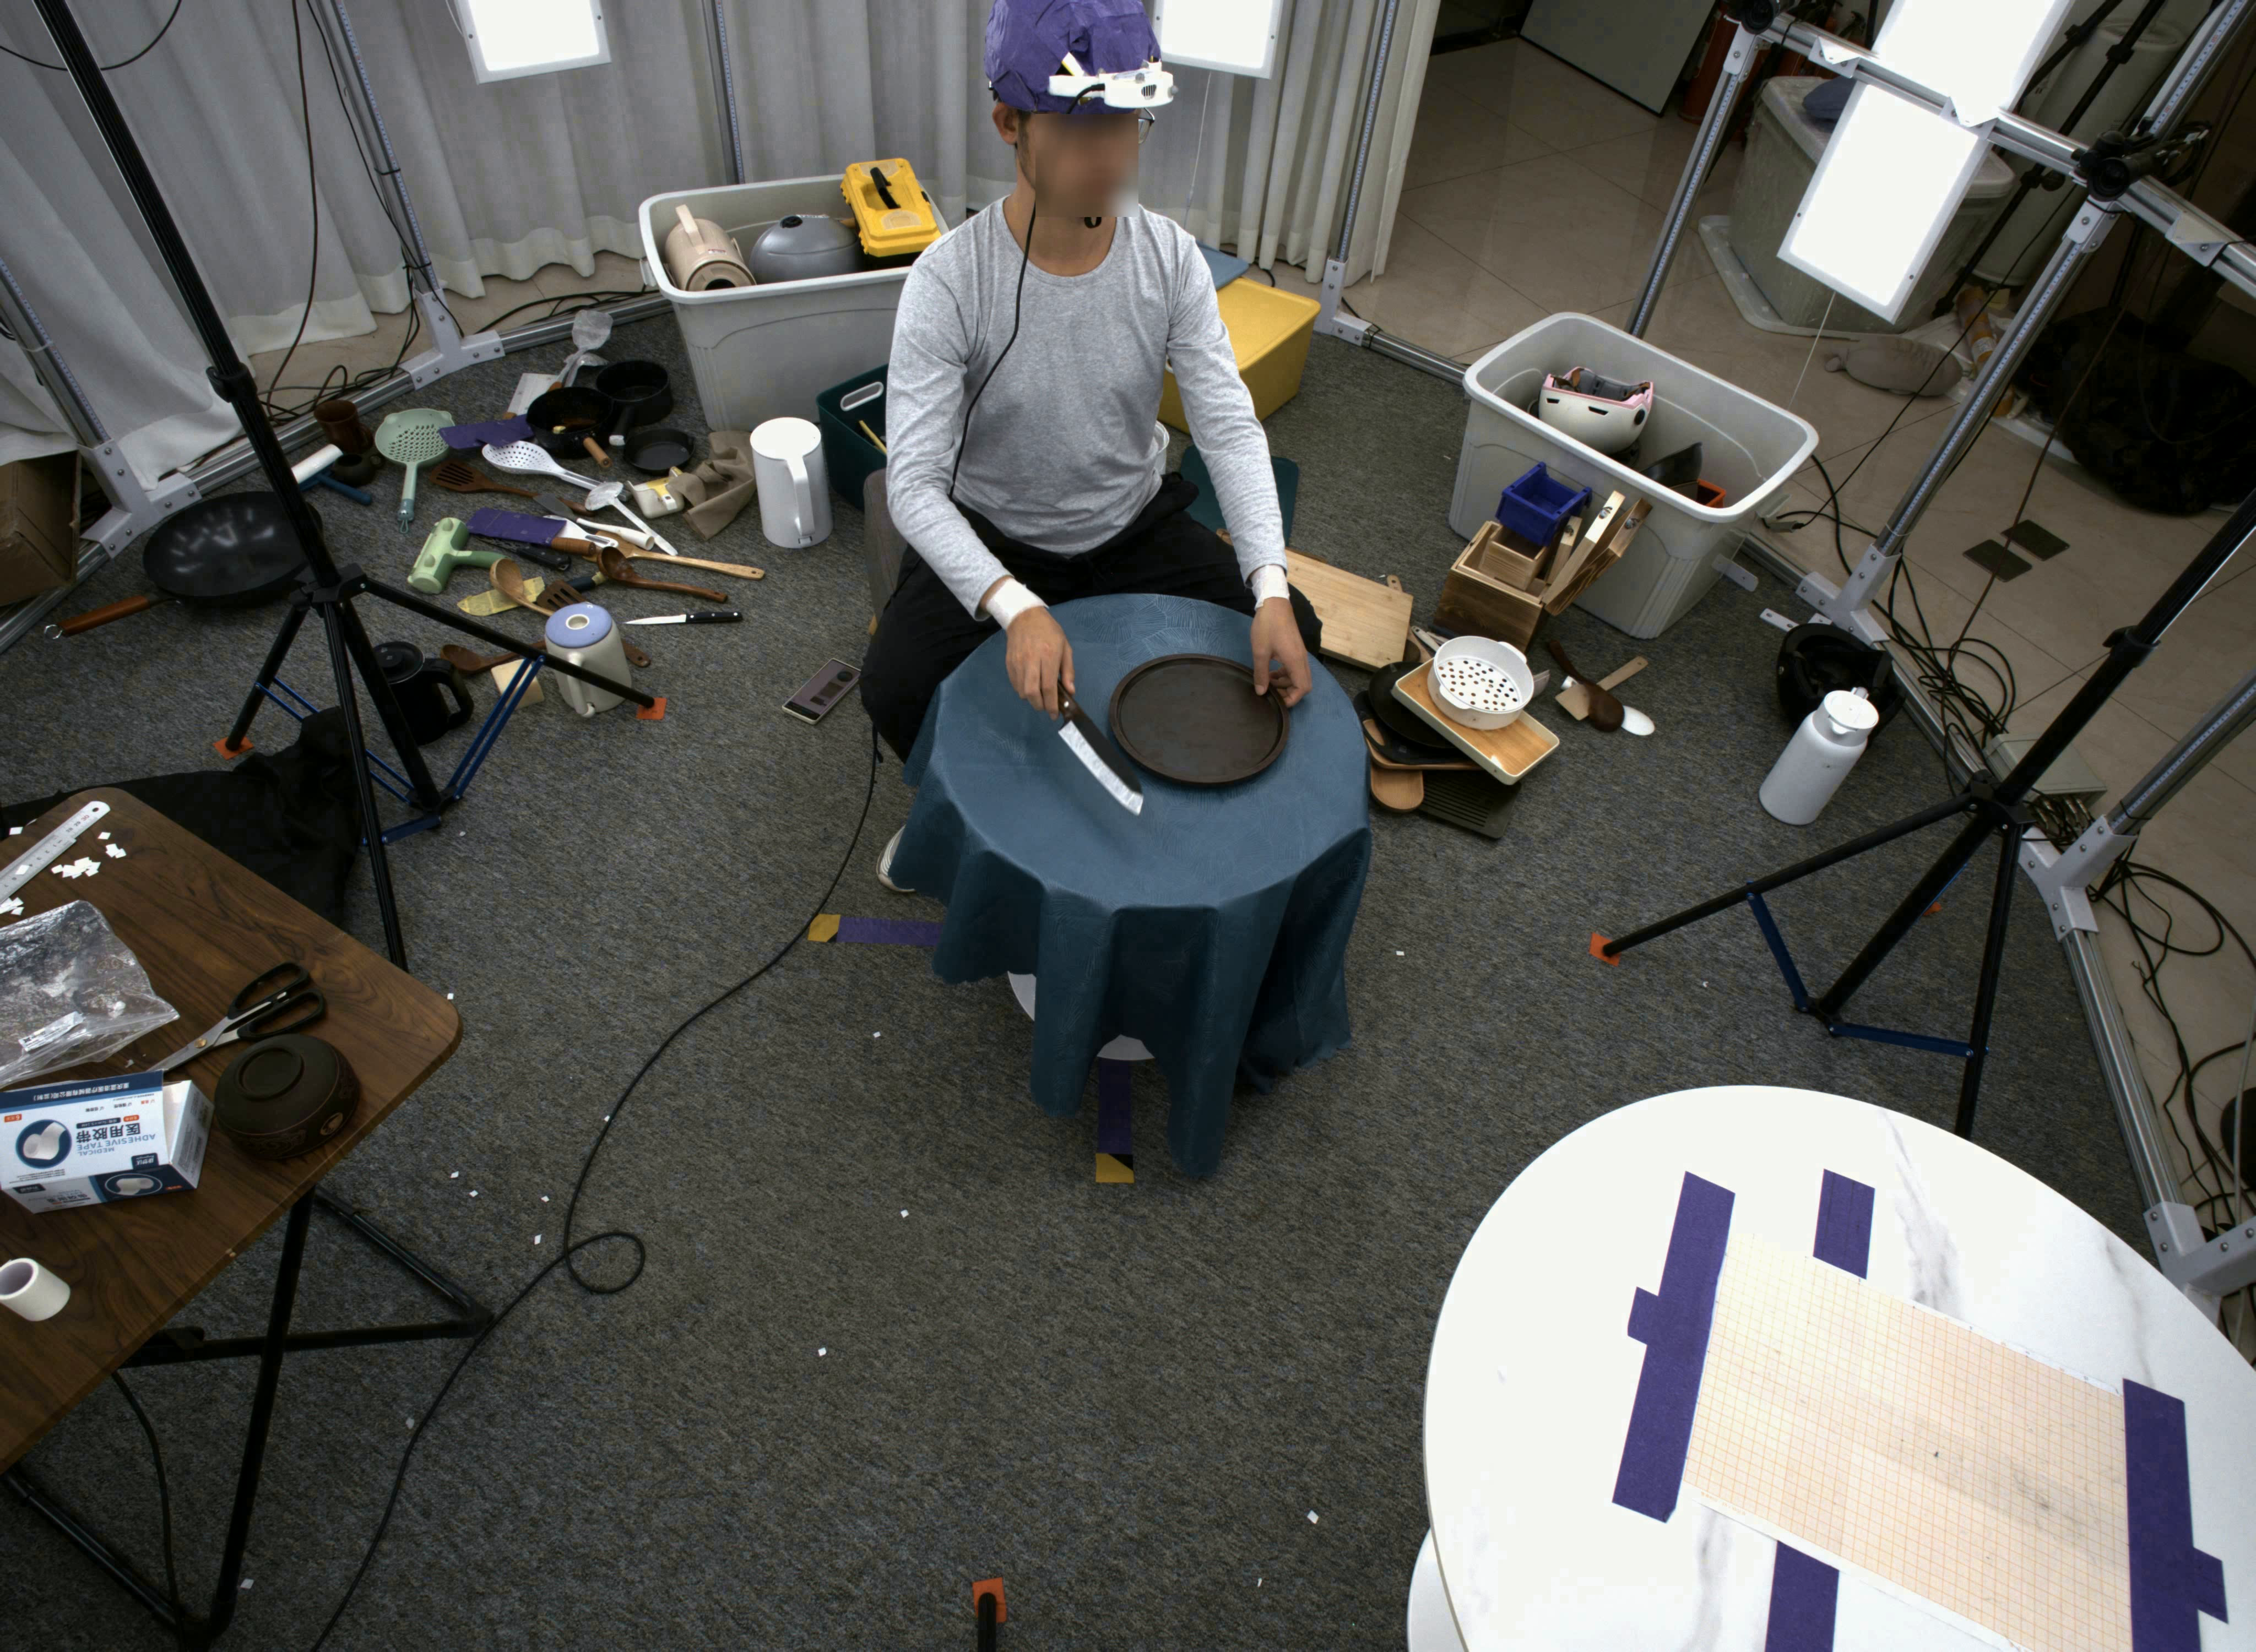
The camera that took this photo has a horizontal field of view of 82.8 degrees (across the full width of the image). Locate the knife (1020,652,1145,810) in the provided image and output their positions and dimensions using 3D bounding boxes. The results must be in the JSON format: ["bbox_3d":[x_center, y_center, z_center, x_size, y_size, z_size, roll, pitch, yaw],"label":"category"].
[{"bbox_3d":[-0.060,-0.126,1.671,0.050,0.020,0.294,-41,63,6],"label":"knife"}]

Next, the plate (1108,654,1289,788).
[{"bbox_3d":[0.098,-0.149,1.787,0.254,0.028,0.261,1,49,-1],"label":"plate"}]
